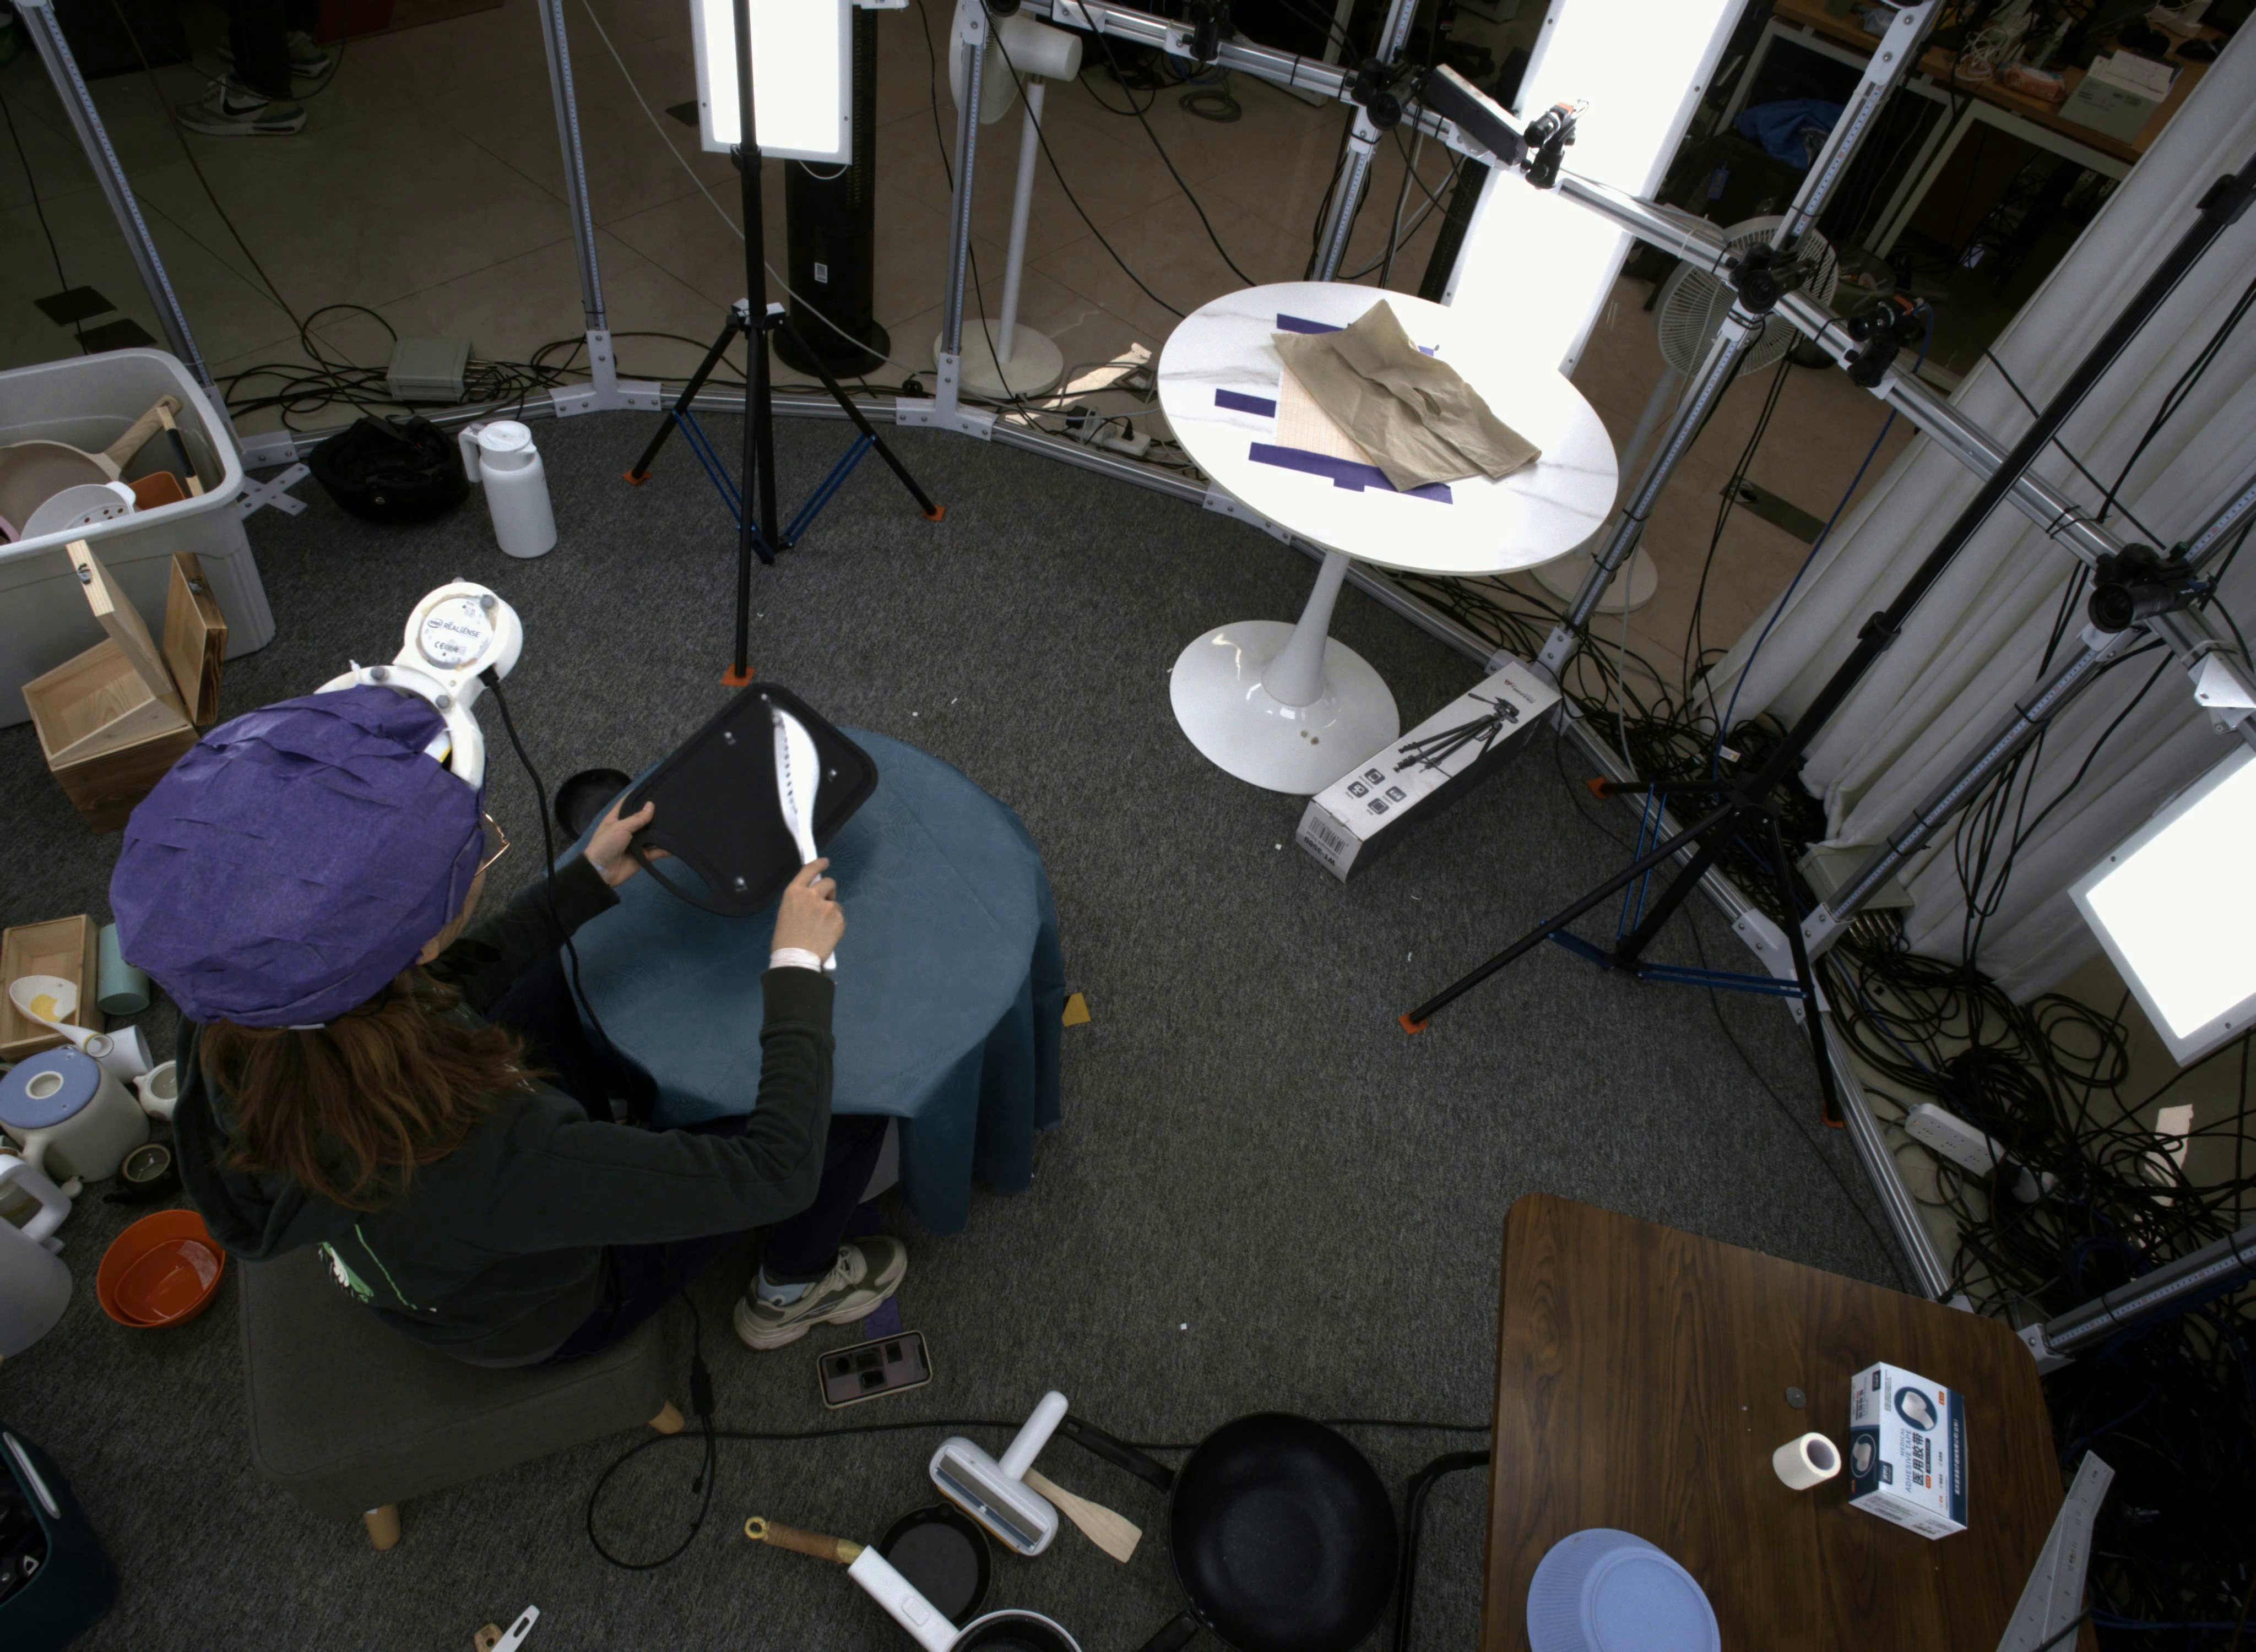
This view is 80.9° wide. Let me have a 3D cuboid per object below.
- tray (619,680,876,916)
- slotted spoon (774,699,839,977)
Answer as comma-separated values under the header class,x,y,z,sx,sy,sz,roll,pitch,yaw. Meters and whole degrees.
class,x,y,z,sx,sy,sz,roll,pitch,yaw
tray,-0.462,-0.038,1.577,0.212,0.010,0.324,40,50,-6
slotted spoon,-0.359,0.010,1.438,0.046,0.138,0.342,-3,56,-18
